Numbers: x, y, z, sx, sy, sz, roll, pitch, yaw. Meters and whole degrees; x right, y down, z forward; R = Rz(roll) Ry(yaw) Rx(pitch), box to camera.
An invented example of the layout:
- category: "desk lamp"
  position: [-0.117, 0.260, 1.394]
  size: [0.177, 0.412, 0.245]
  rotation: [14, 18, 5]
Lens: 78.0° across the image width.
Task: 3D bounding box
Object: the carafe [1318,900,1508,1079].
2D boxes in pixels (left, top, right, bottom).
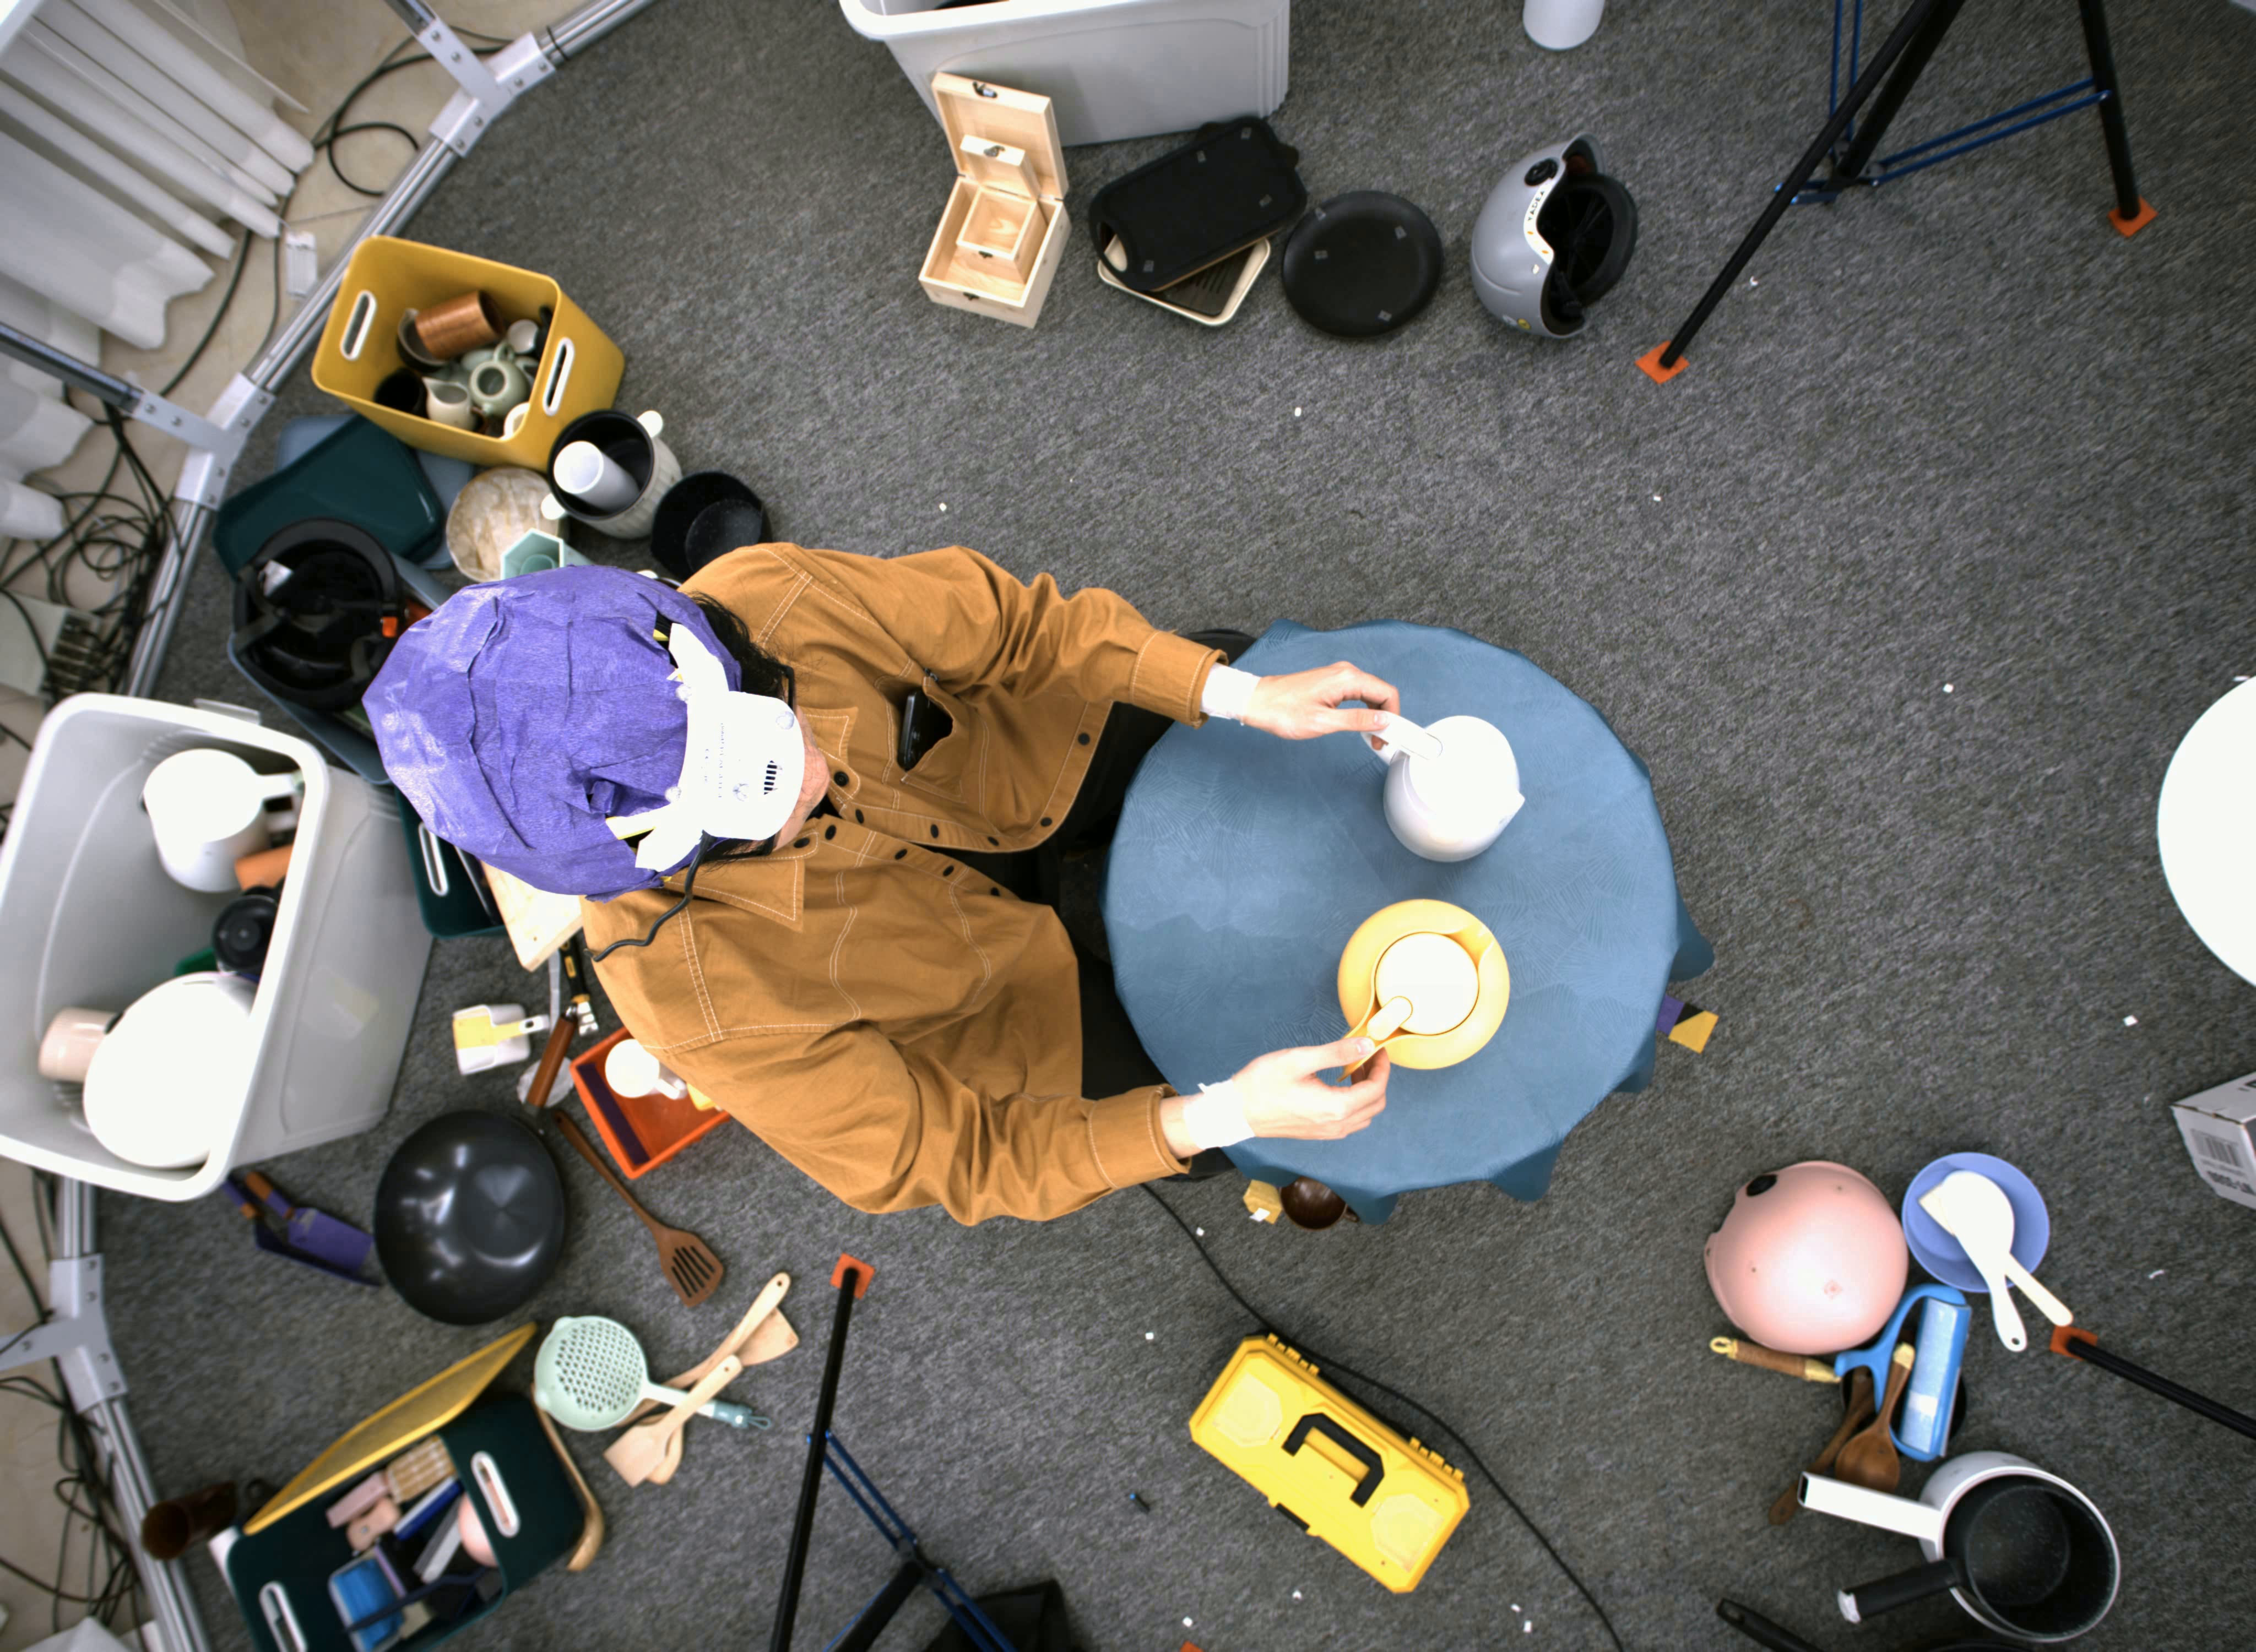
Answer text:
- category: "carafe"
  position: [0.266, 0.162, 1.326]
  size: [0.203, 0.261, 0.162]
  rotation: [-41, 77, 3]

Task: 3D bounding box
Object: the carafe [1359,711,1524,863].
- category: "carafe"
  position: [0.299, -0.050, 1.336]
  size: [0.167, 0.249, 0.133]
  rotation: [34, 92, 12]
